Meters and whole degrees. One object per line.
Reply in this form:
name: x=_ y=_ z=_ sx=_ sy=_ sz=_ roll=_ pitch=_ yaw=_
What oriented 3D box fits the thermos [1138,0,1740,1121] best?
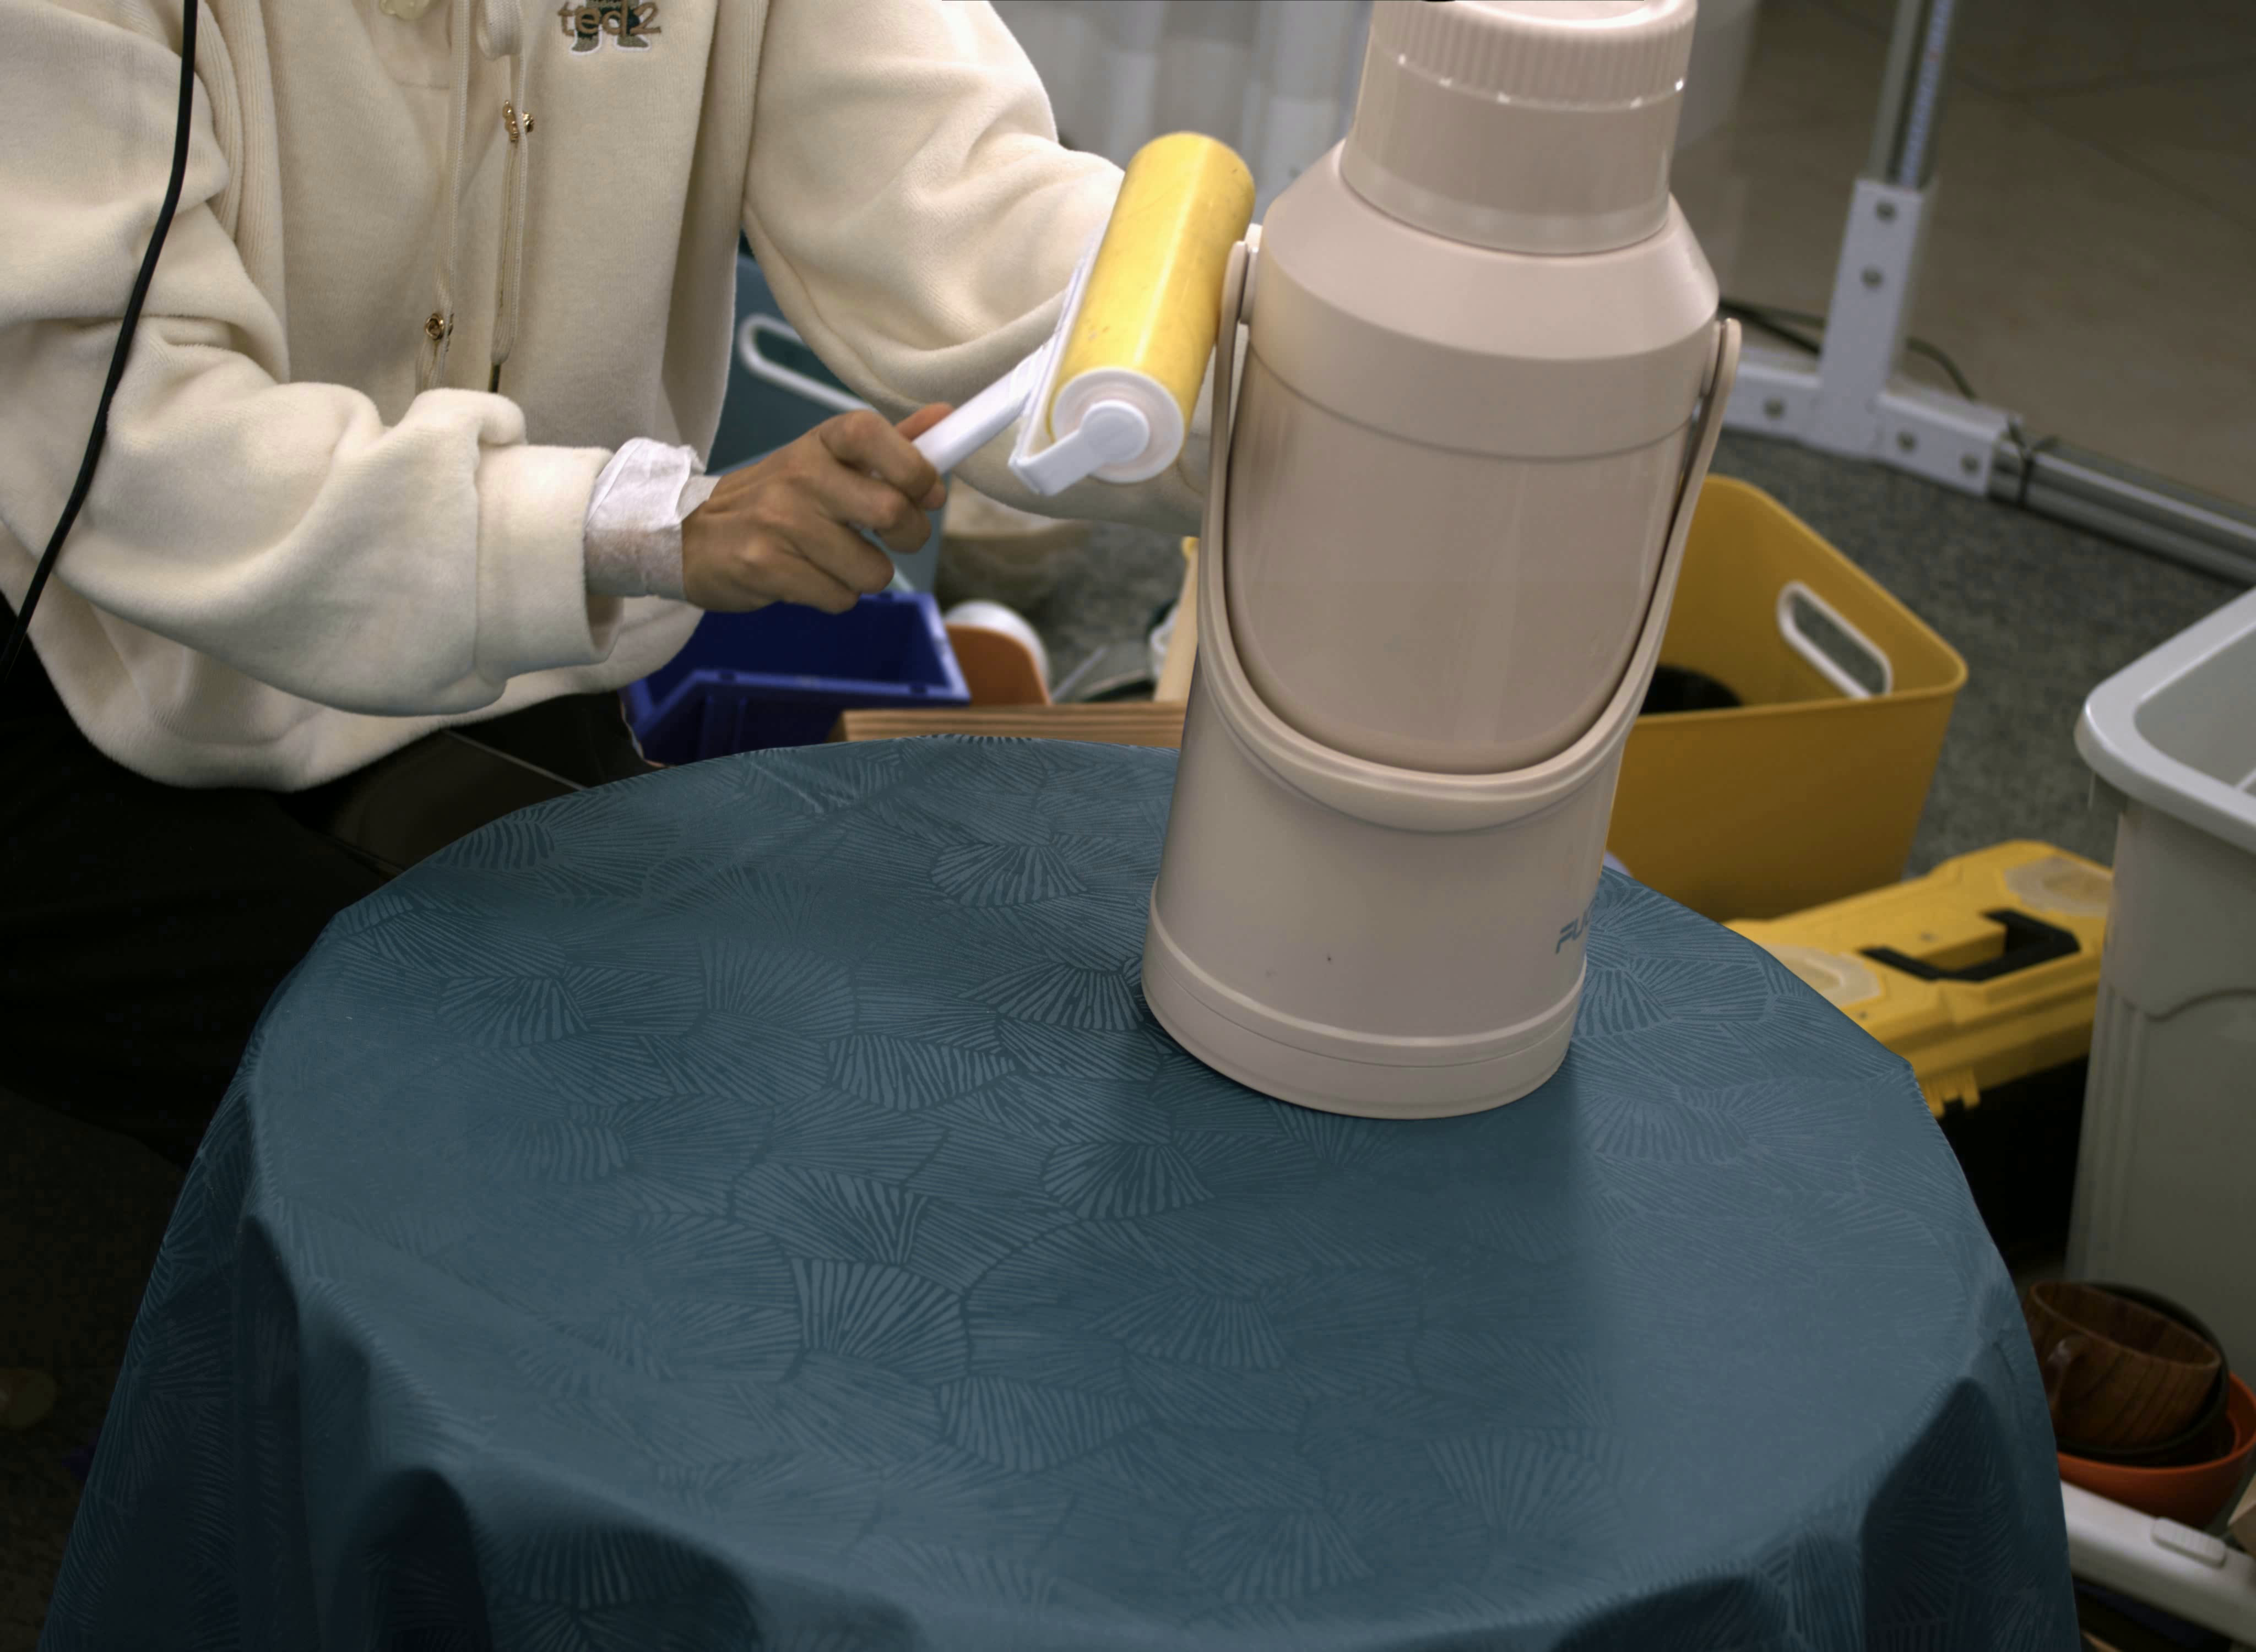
thermos: x=0.111 y=-0.113 z=1.848 sx=0.175 sy=0.405 sz=0.208 roll=9 pitch=28 yaw=1

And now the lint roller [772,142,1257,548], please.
lint roller: x=-0.051 y=-0.151 z=1.842 sx=0.192 sy=0.051 sz=0.175 roll=-21 pitch=27 yaw=23
